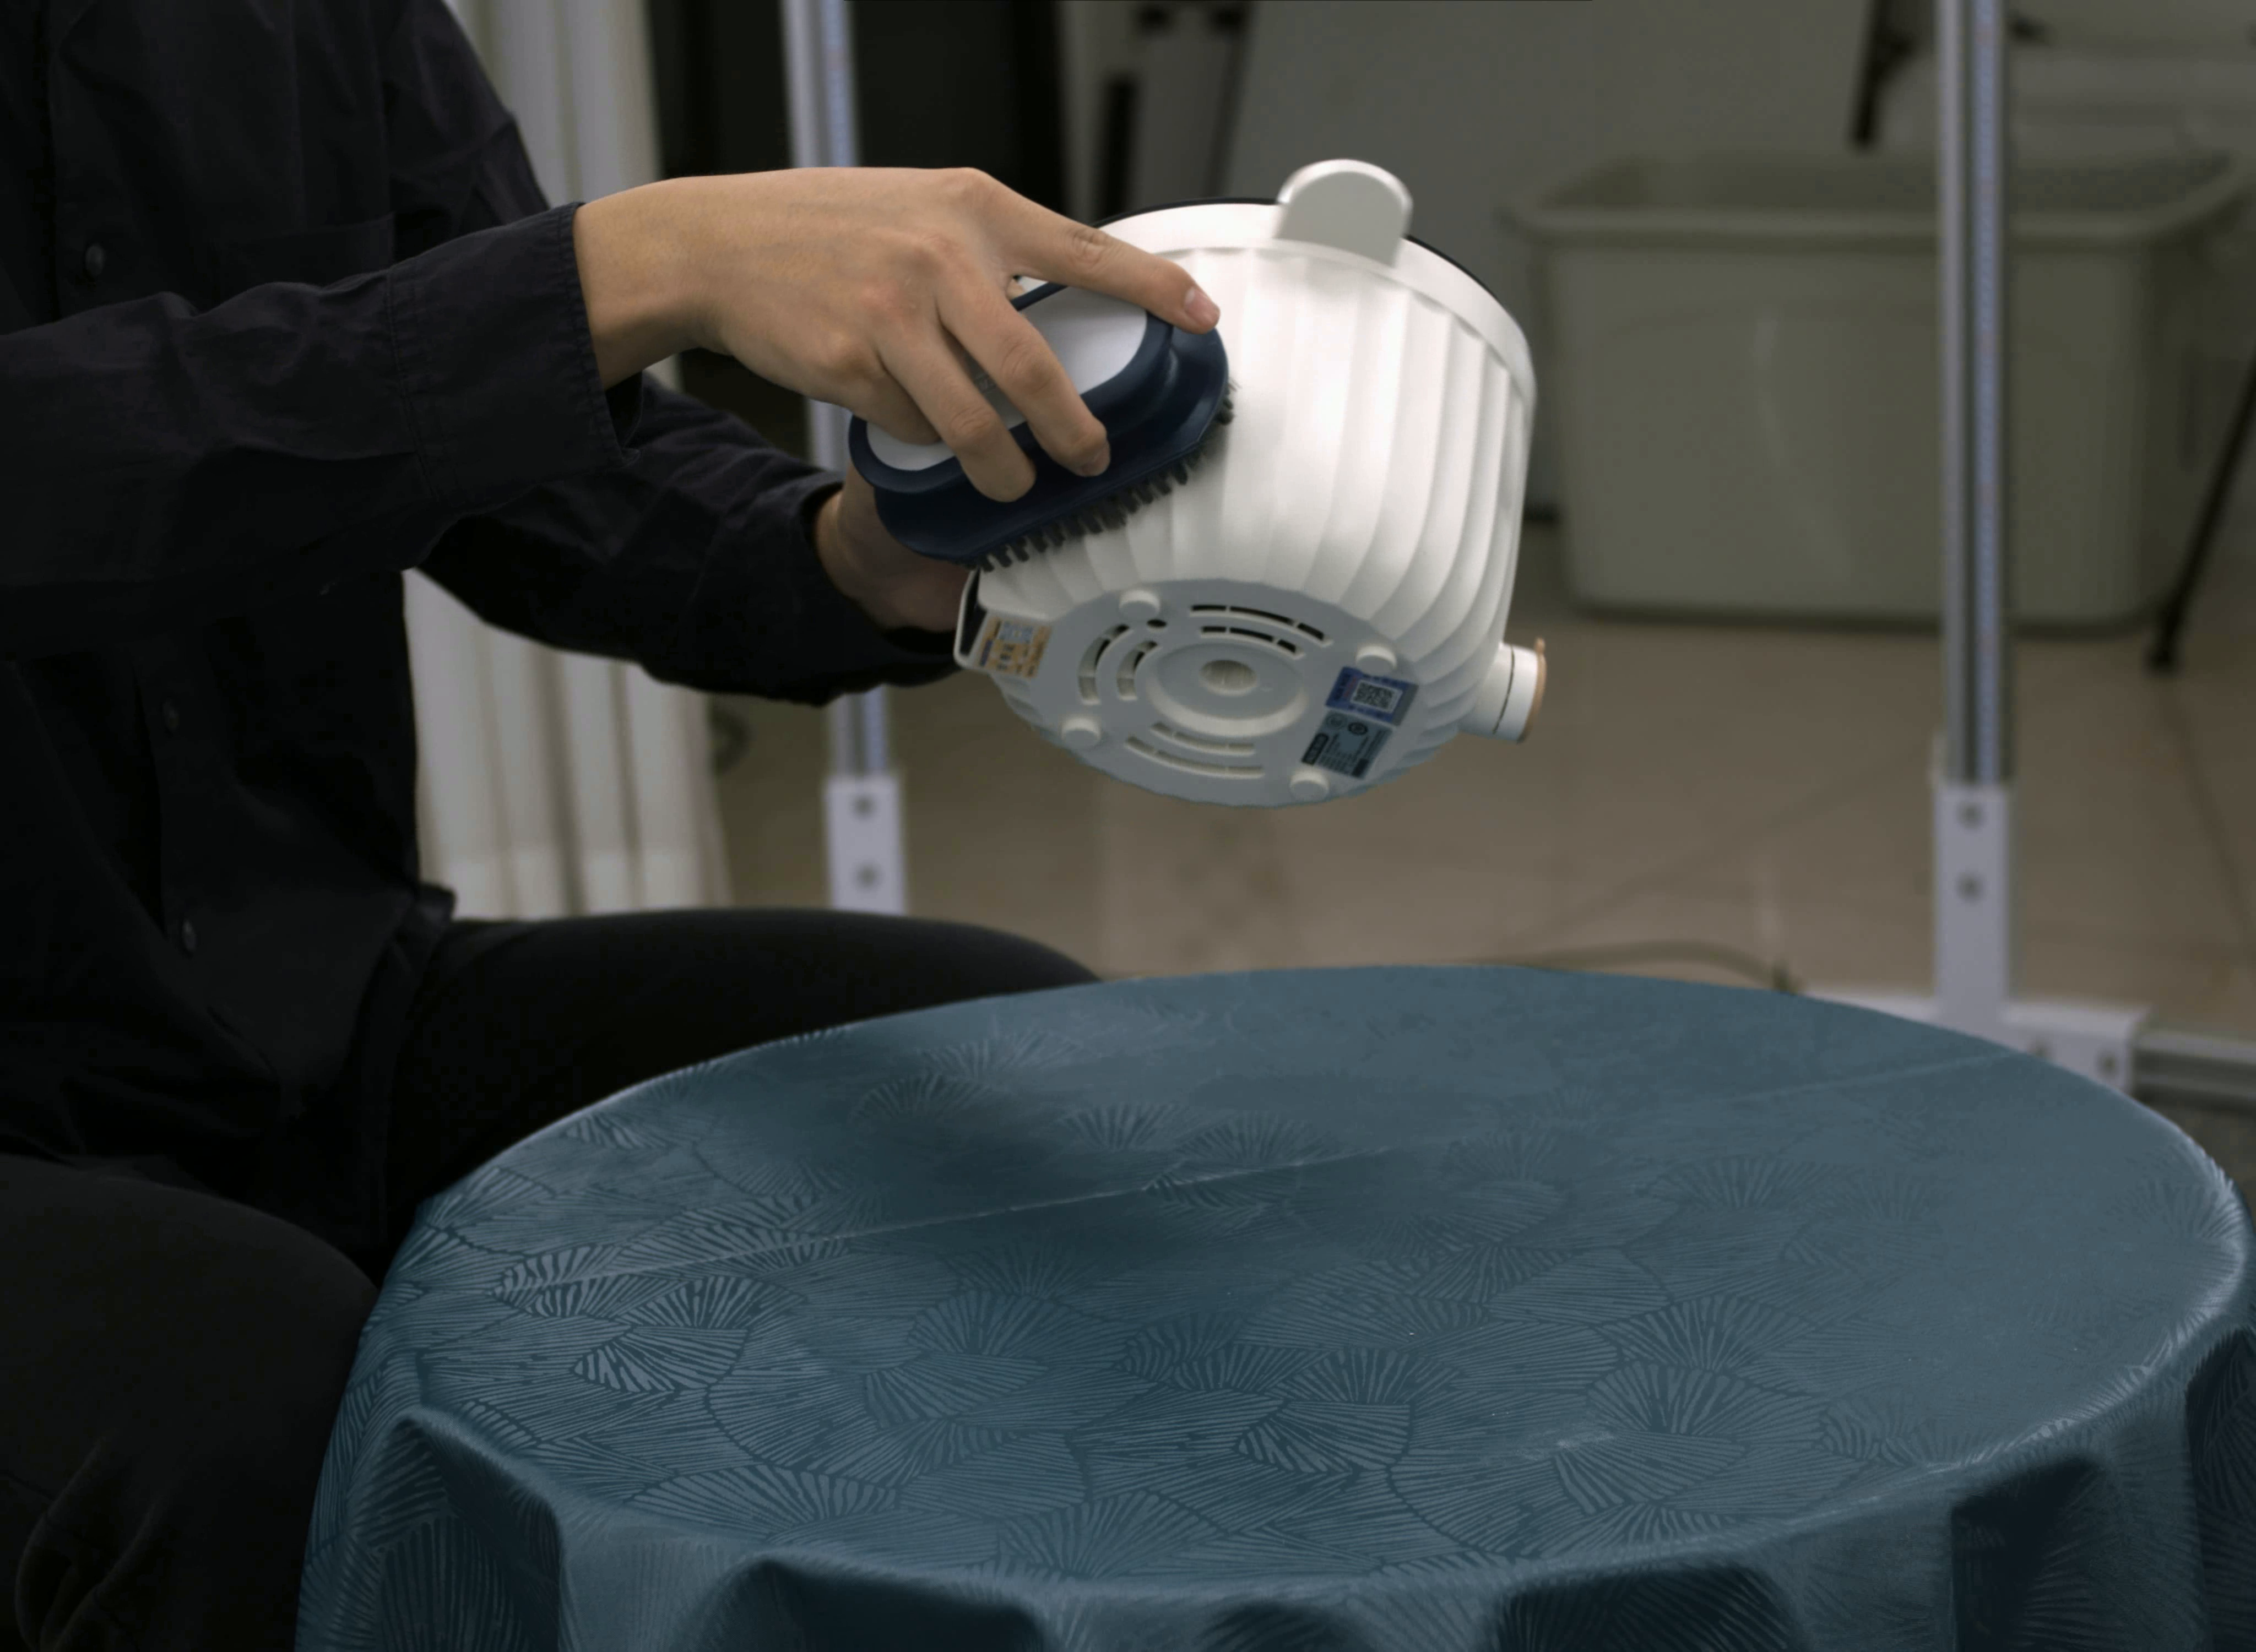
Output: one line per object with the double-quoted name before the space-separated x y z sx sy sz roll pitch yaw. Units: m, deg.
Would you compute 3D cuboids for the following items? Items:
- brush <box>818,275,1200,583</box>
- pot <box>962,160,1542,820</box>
"brush" -0.035 -0.120 1.665 0.121 0.069 0.060 -21 -33 15
"pot" 0.045 -0.093 1.773 0.187 0.144 0.242 12 -33 -10
